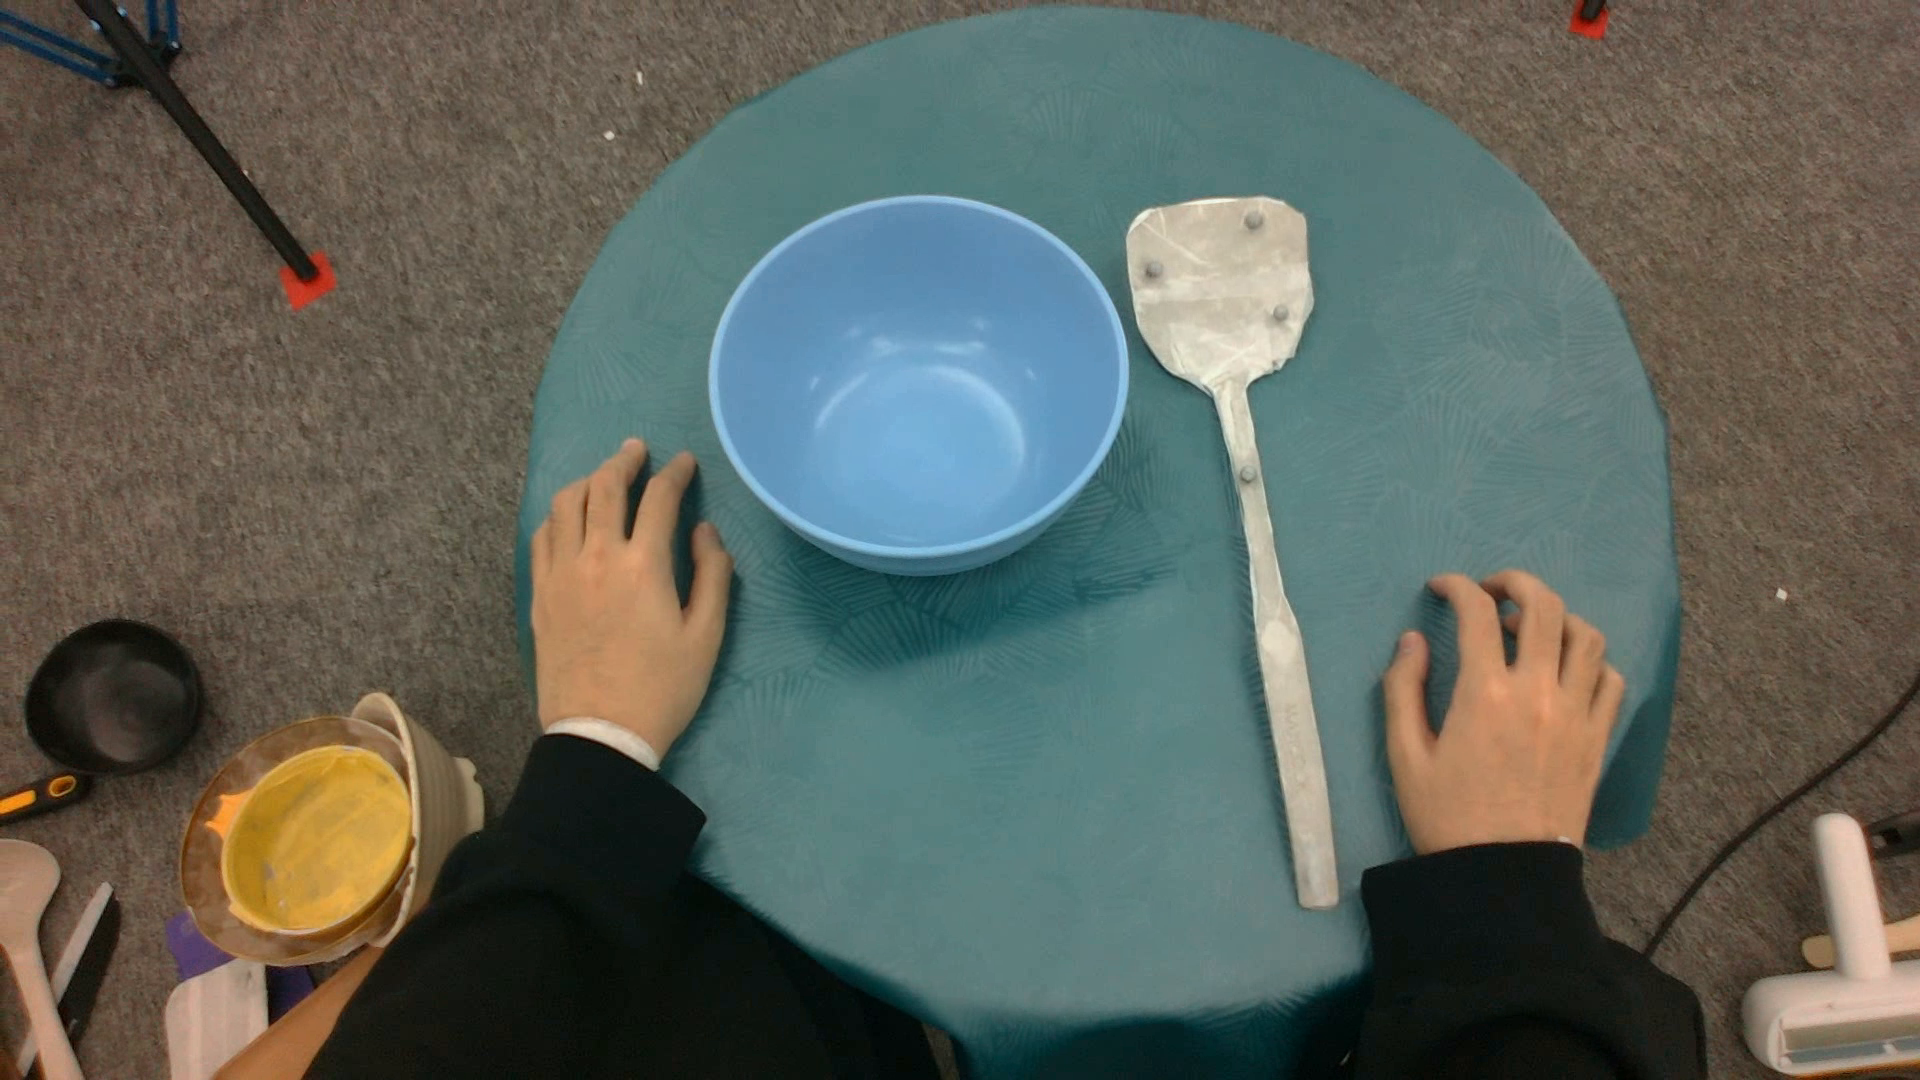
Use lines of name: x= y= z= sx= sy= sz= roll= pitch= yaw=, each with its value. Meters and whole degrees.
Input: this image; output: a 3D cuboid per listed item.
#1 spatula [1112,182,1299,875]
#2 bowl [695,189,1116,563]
spatula: x=0.138 y=-0.021 z=0.689 sx=0.099 sy=0.044 sz=0.366 roll=-2 pitch=64 yaw=-2
bowl: x=-0.025 y=-0.067 z=0.682 sx=0.196 sy=0.095 sz=0.197 roll=0 pitch=63 yaw=0
